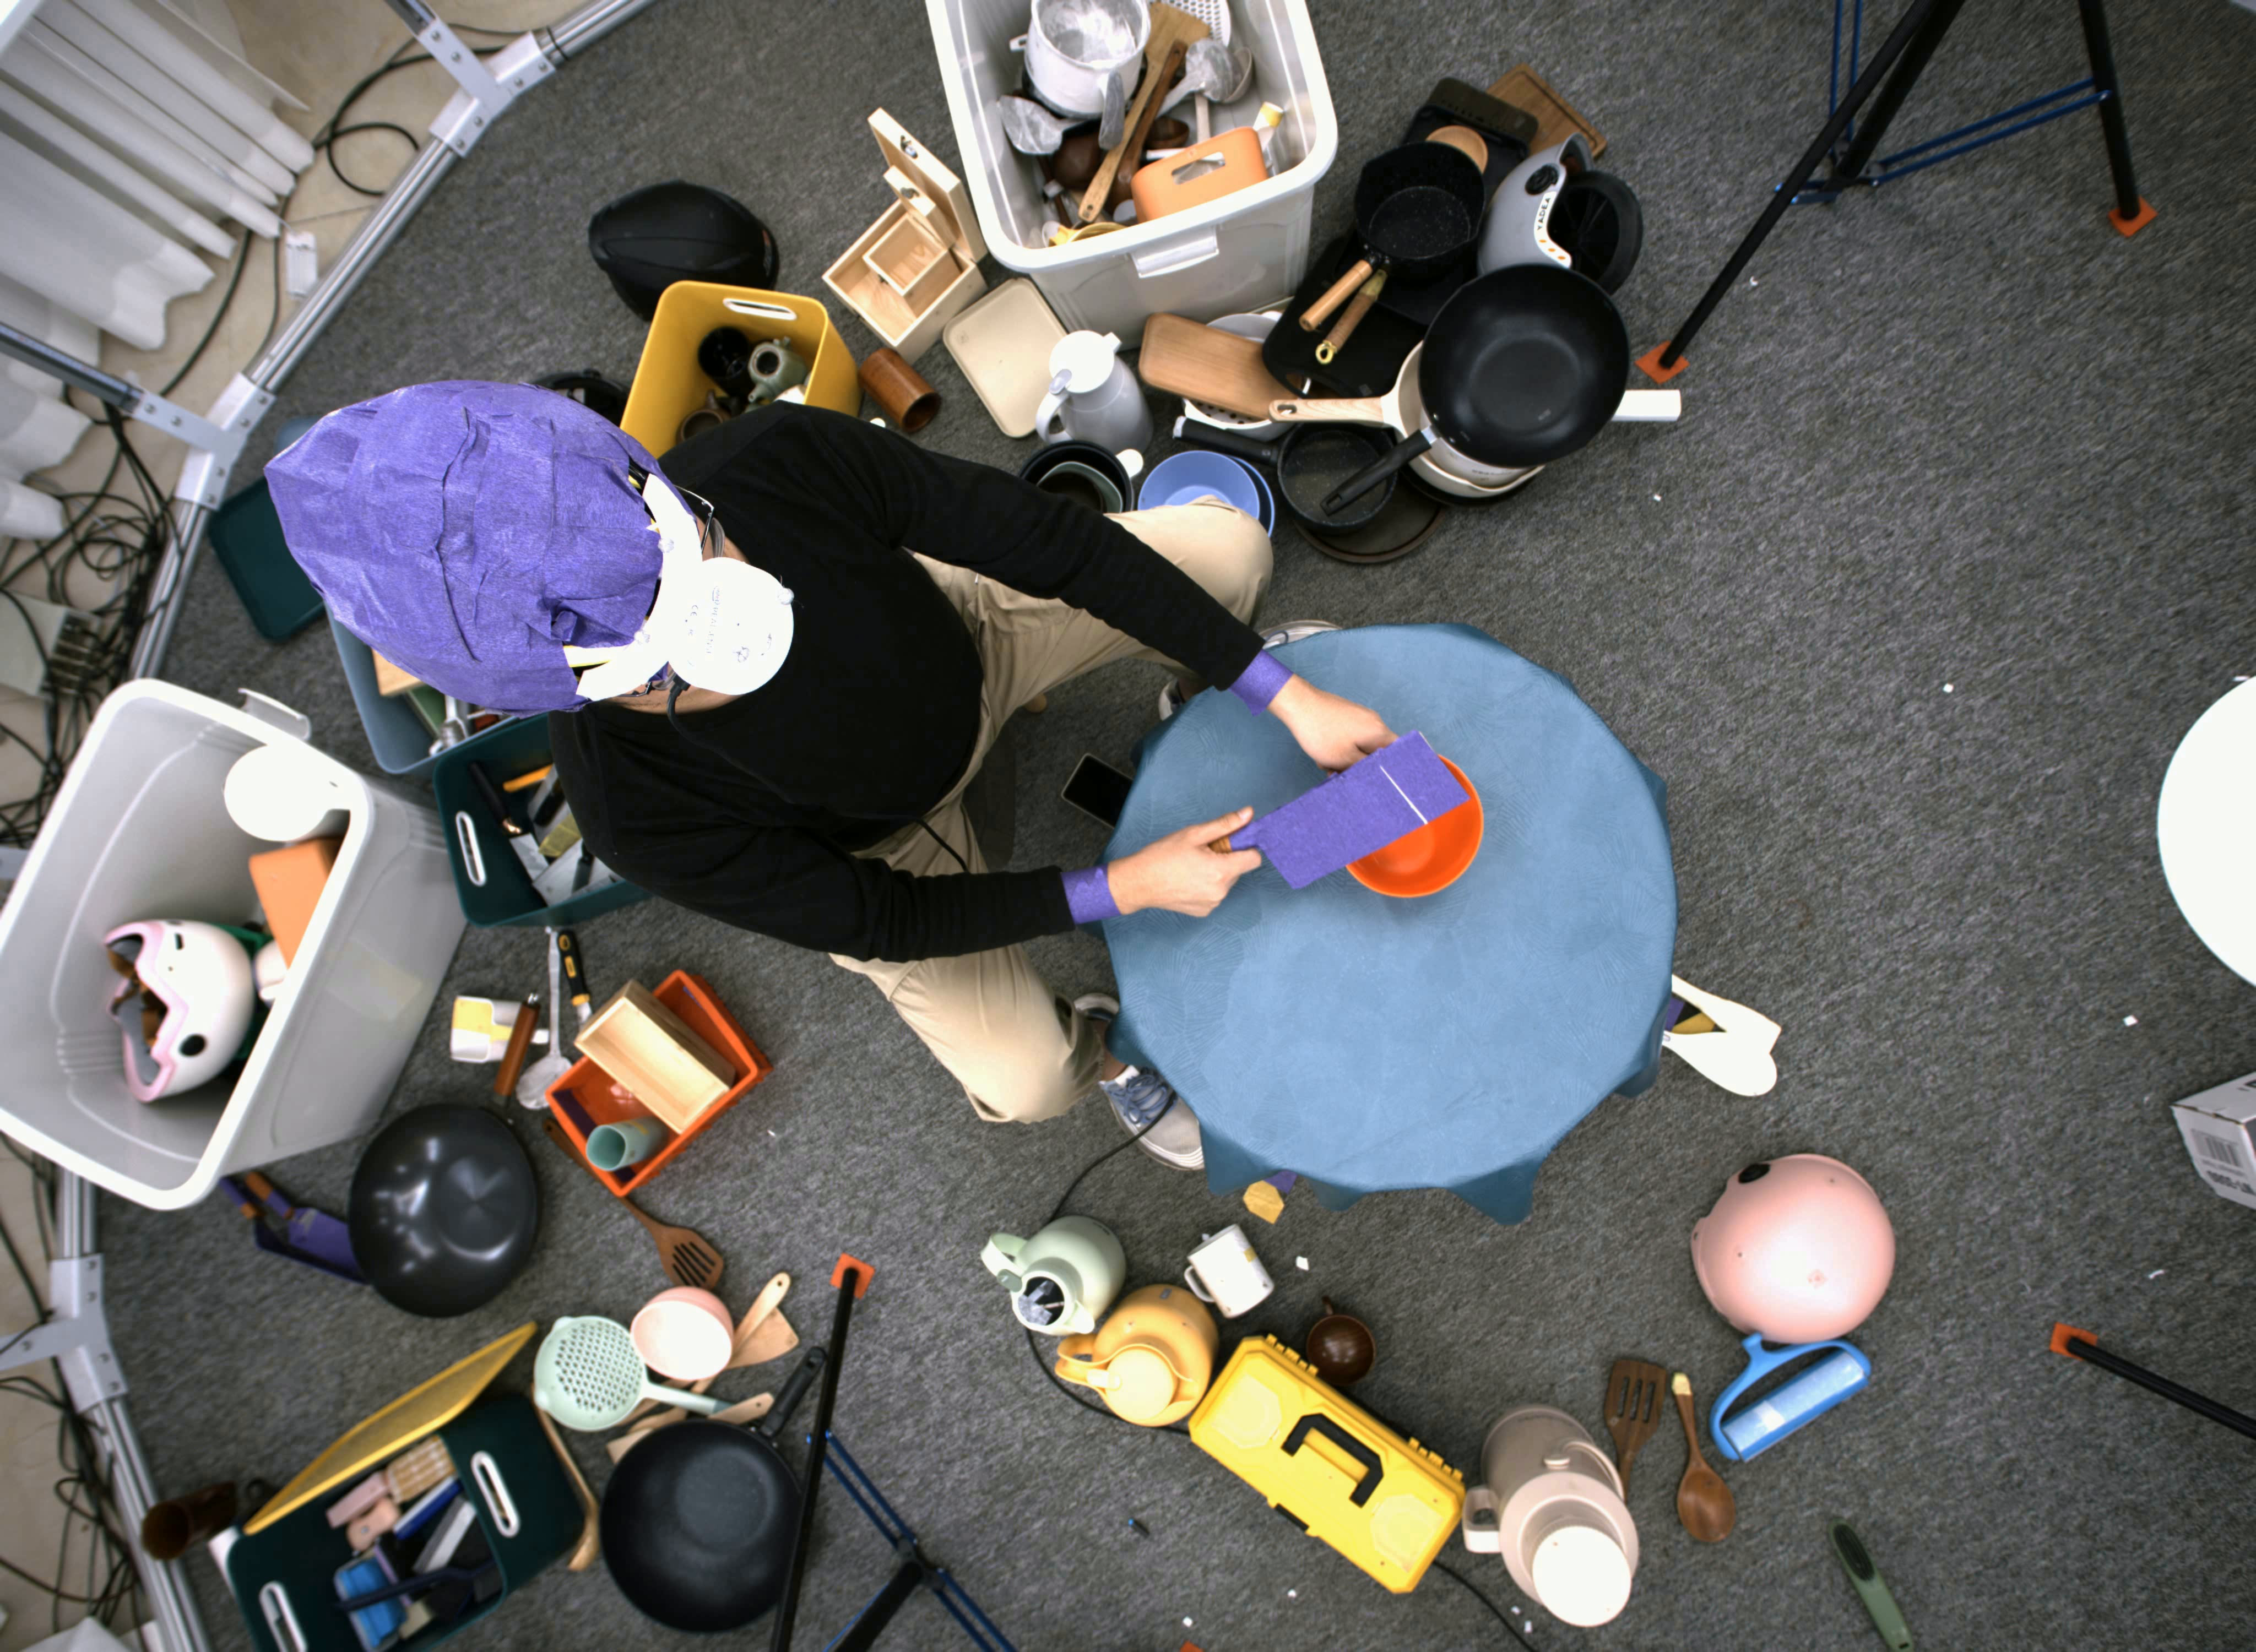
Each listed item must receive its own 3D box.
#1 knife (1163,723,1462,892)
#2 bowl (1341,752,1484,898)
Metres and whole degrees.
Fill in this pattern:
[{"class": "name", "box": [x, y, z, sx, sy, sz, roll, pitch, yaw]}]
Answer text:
[{"class": "knife", "box": [0.179, 0.009, 1.373, 0.321, 0.031, 0.105, -30, 111, 32]}, {"class": "bowl", "box": [0.286, 0.002, 1.409, 0.148, 0.105, 0.147, -1, 85, 10]}]
